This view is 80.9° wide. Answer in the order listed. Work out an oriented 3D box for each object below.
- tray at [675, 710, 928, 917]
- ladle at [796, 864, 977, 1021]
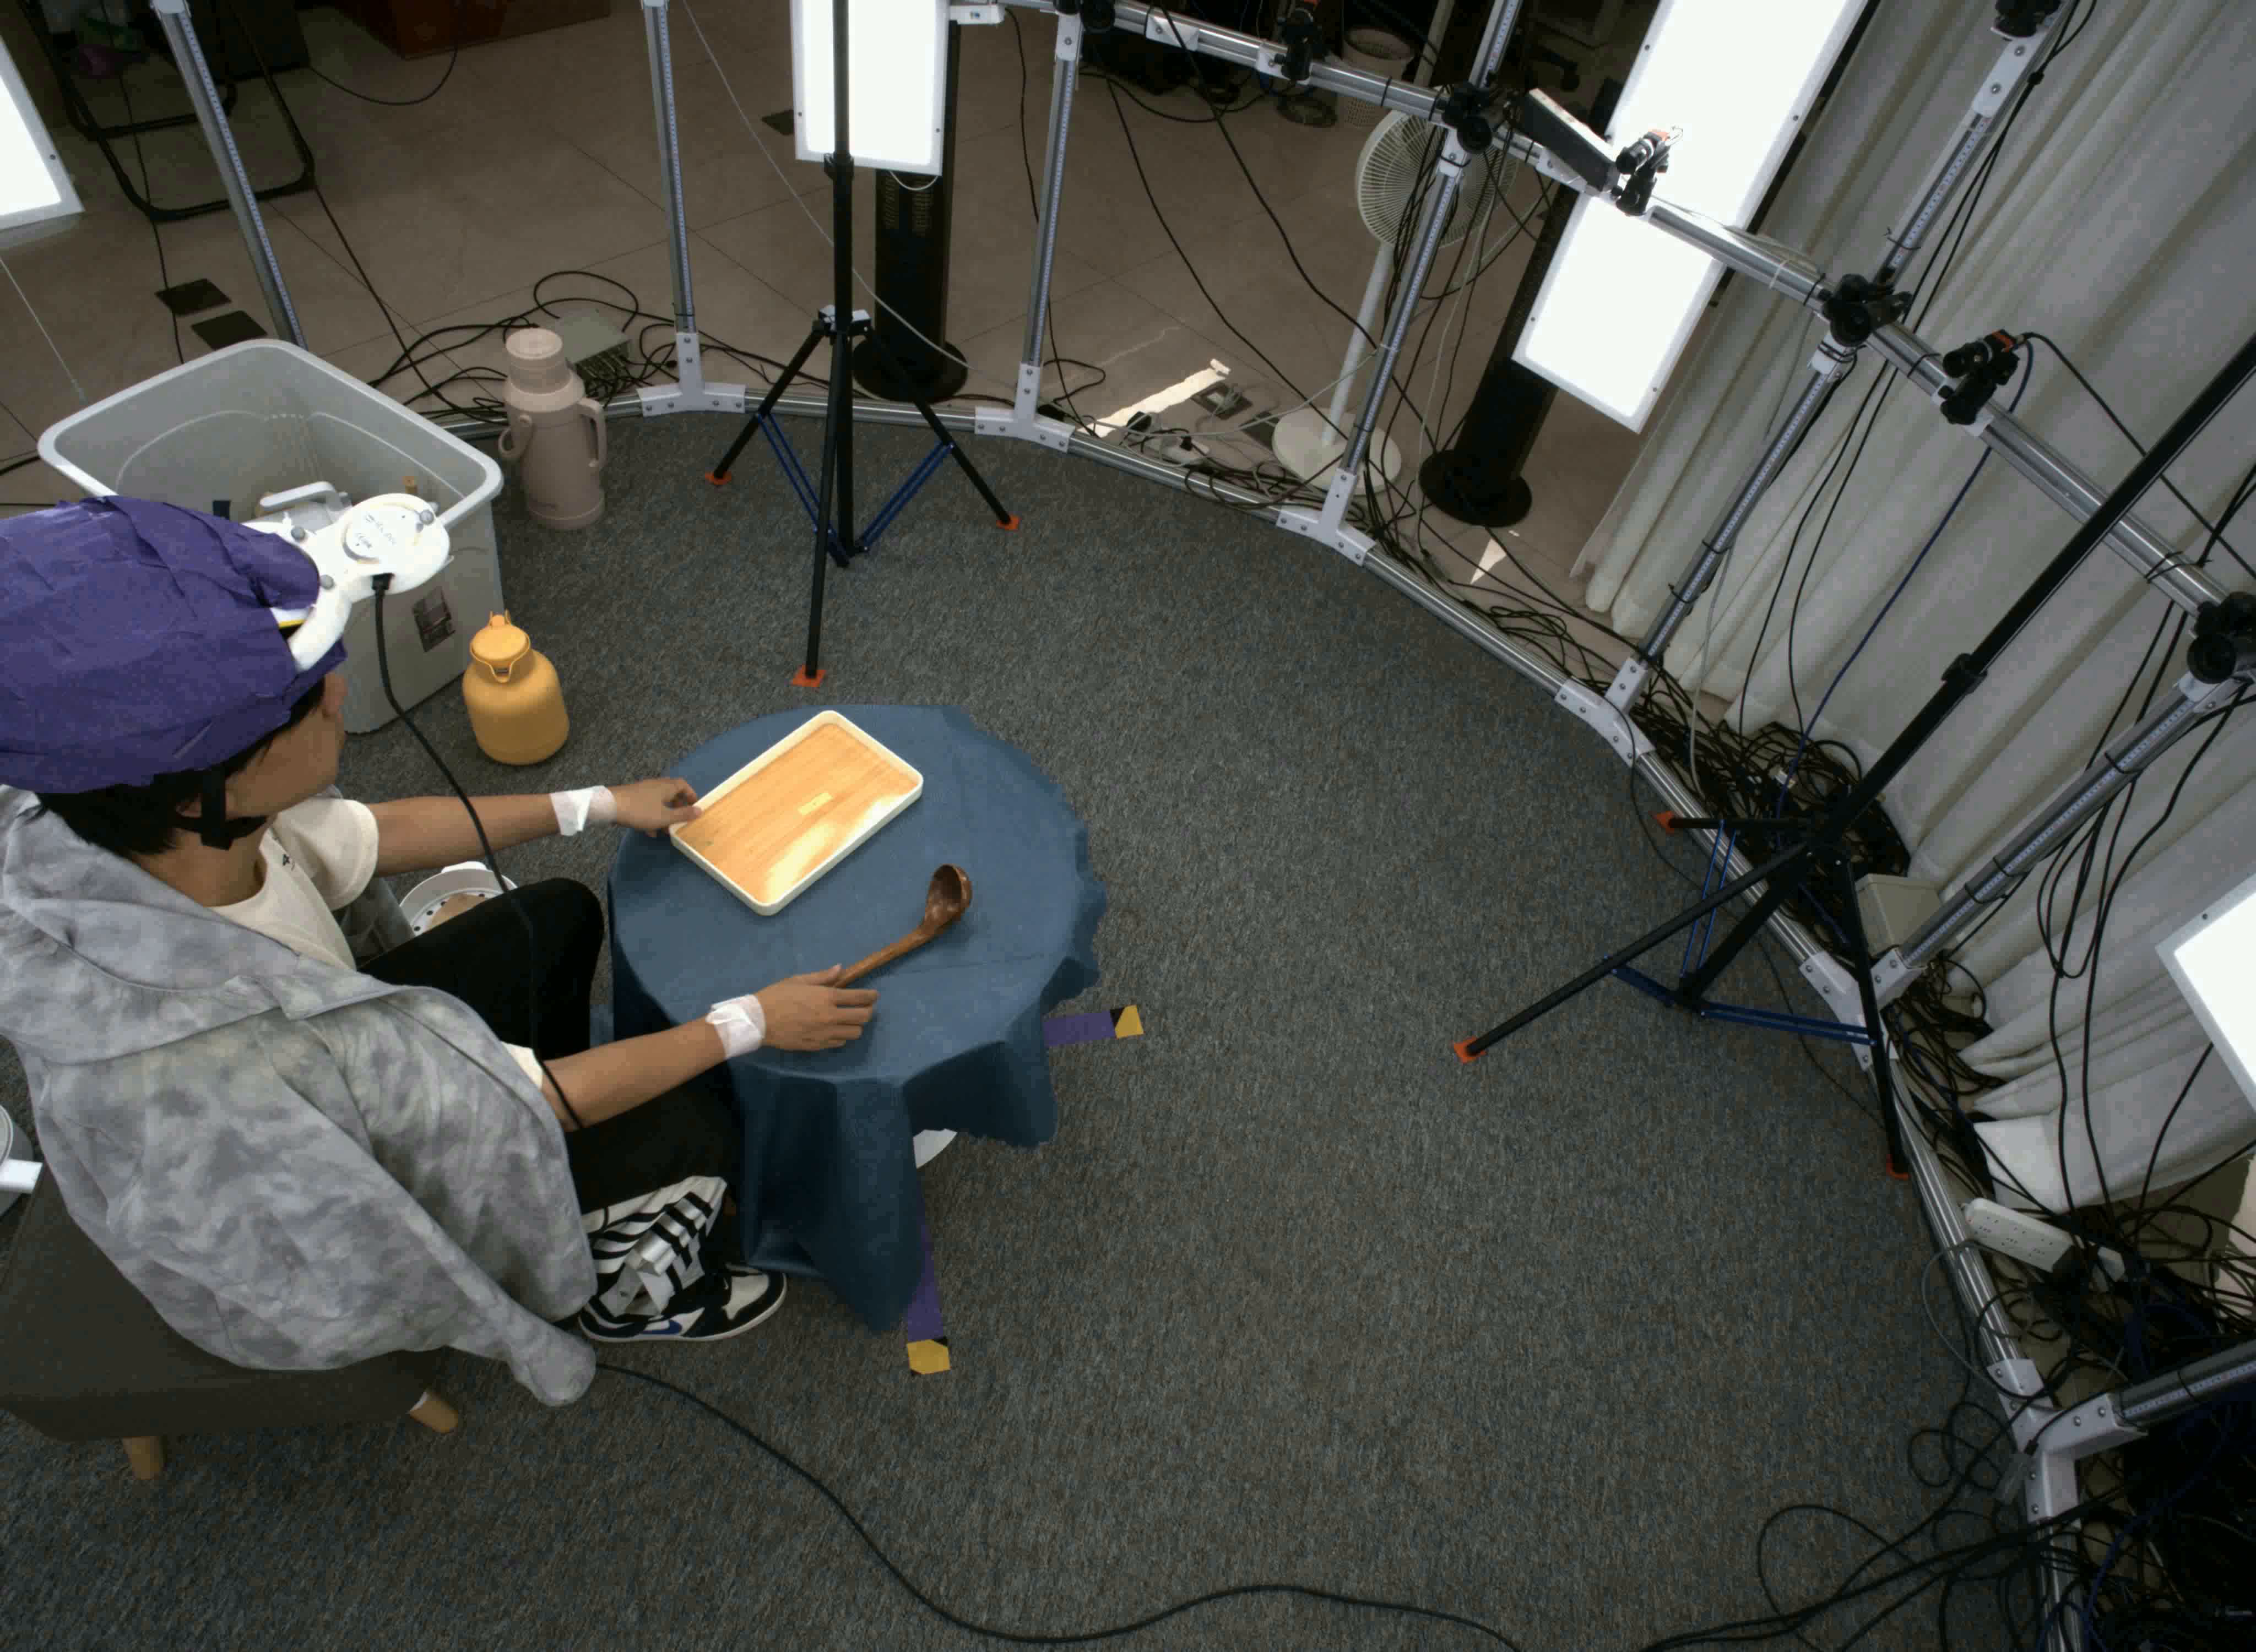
[{"bbox_3d":[-0.430,-0.025,1.725,0.188,0.028,0.300,37,54,14],"label":"tray"},{"bbox_3d":[-0.301,0.137,1.610,0.275,0.079,0.079,-31,24,-29],"label":"ladle"}]
